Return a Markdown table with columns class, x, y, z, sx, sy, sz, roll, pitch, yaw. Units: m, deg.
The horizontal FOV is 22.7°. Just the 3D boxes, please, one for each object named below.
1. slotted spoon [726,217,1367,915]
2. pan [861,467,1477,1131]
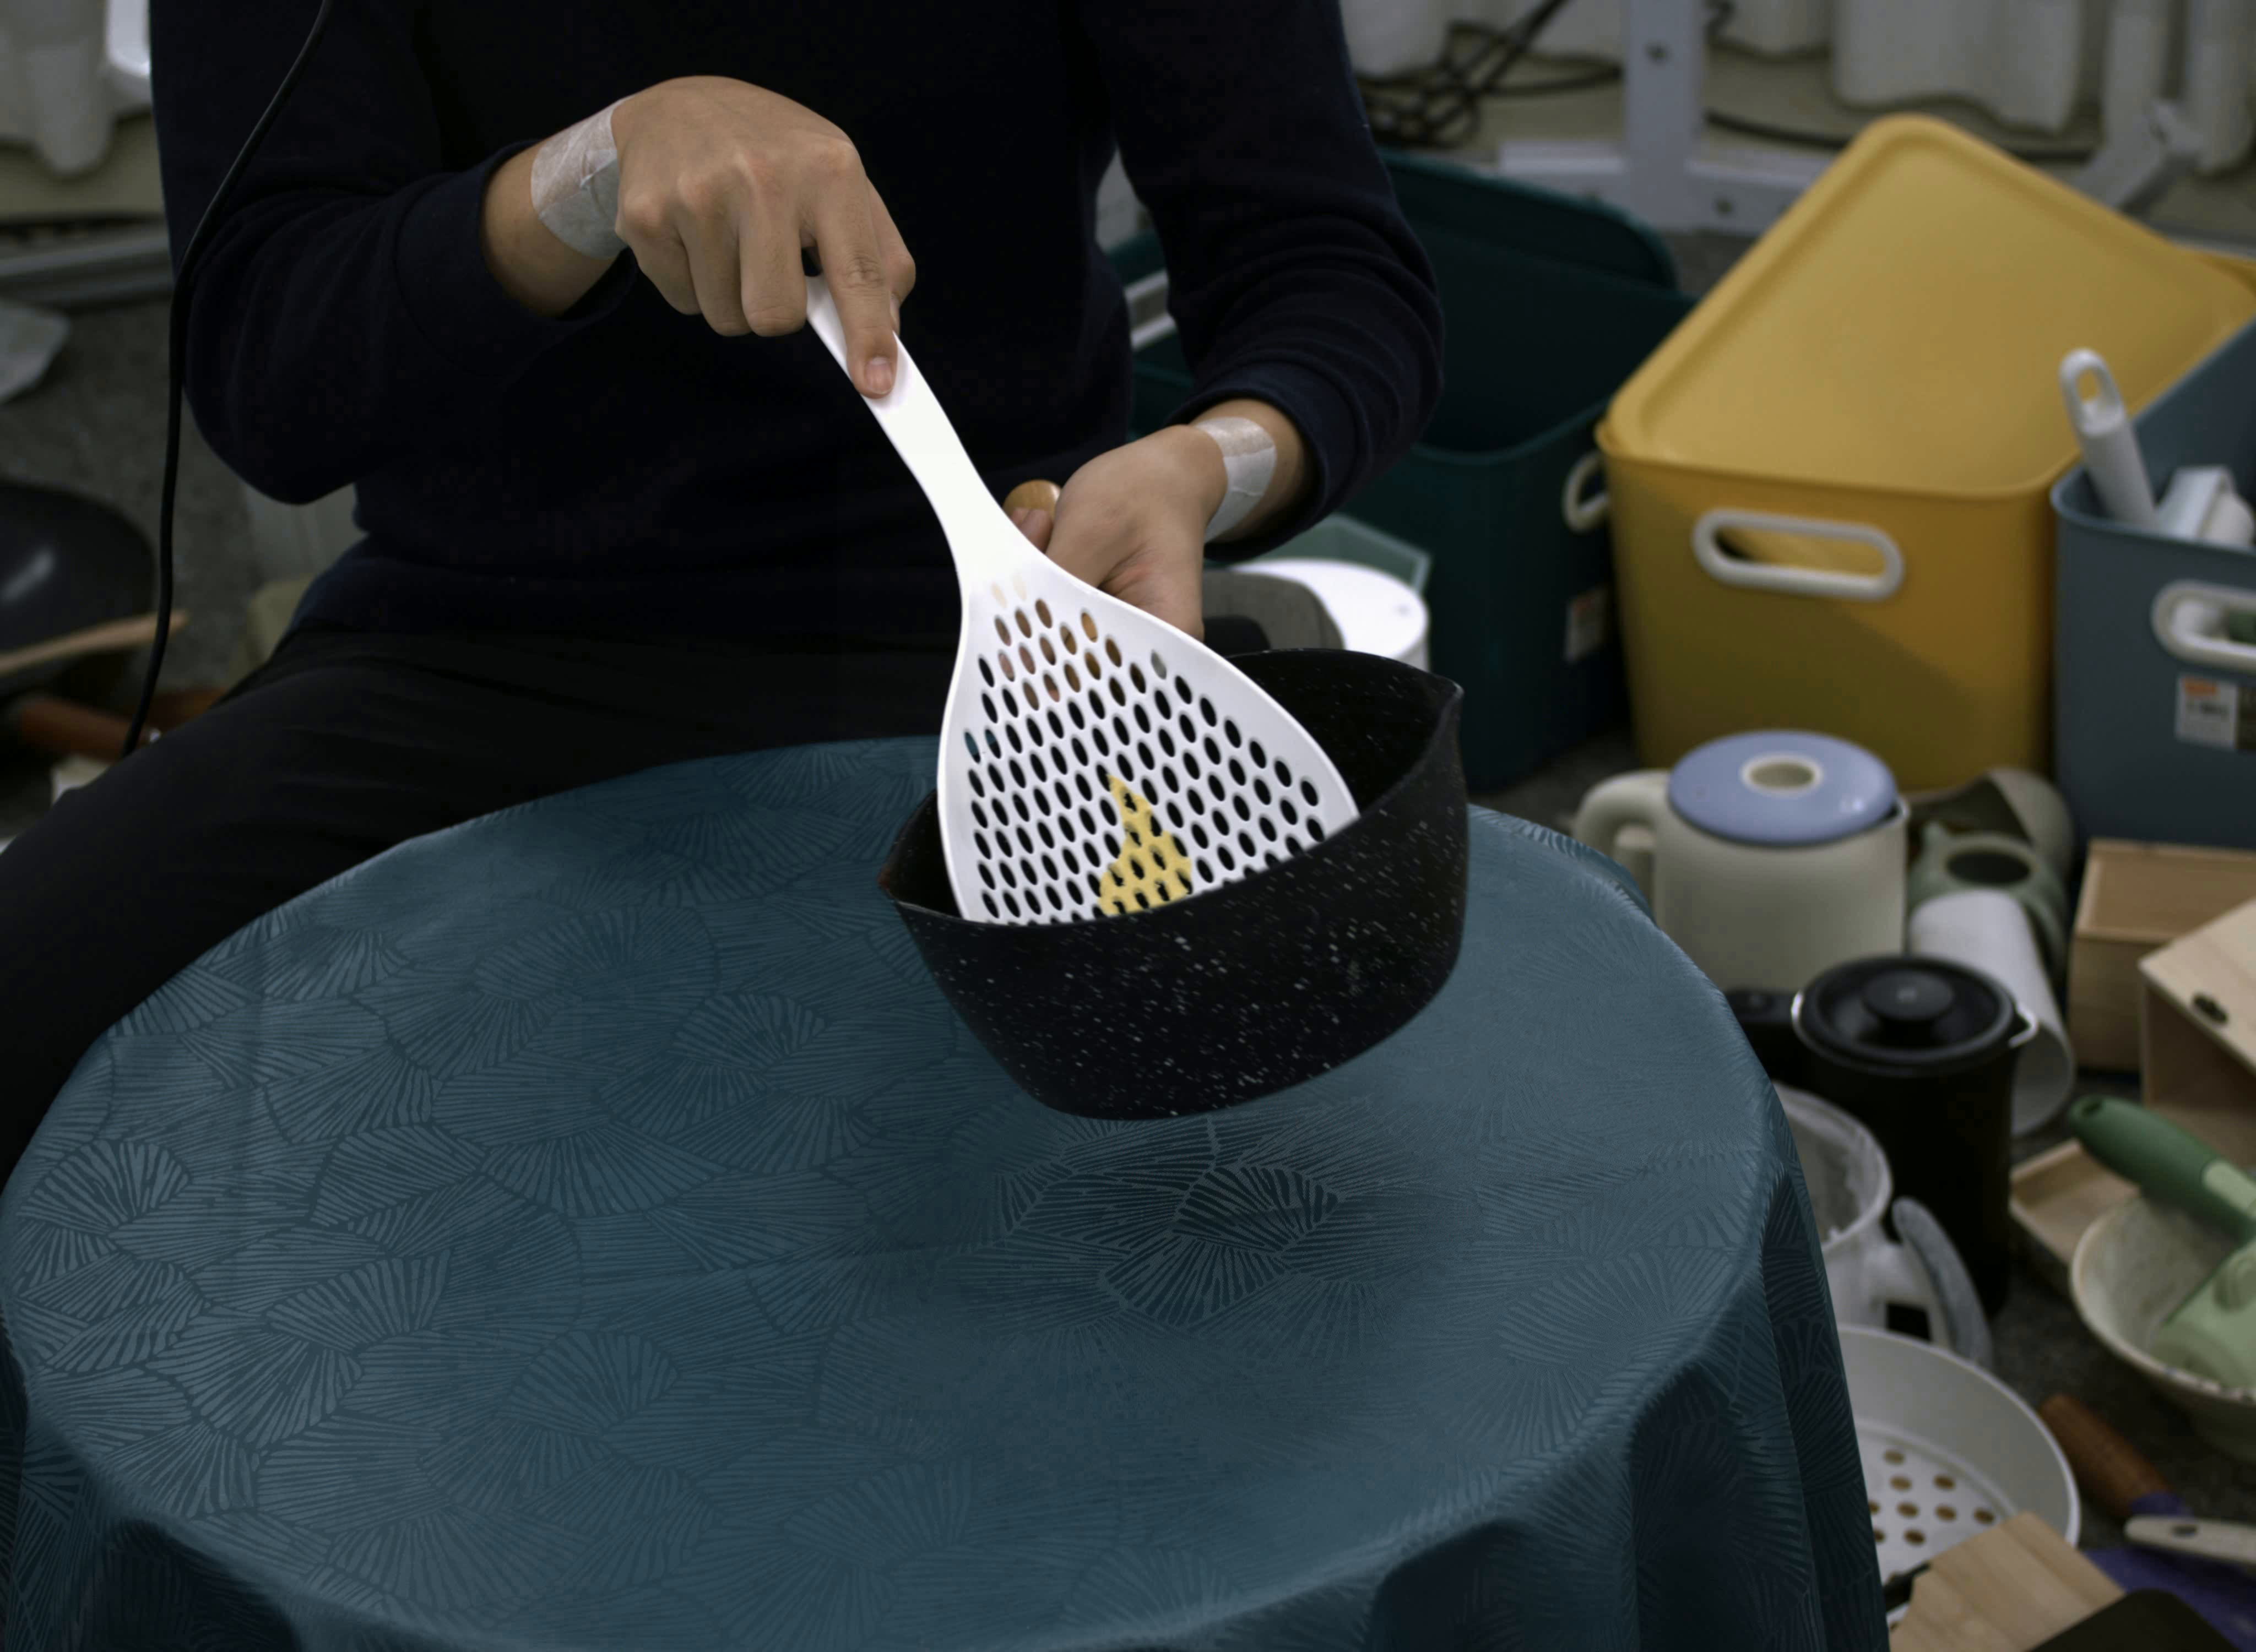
| class | x | y | z | sx | sy | sz | roll | pitch | yaw |
| --- | --- | --- | --- | --- | --- | --- | --- | --- | --- |
| slotted spoon | -0.042 | -0.076 | 1.880 | 0.137 | 0.049 | 0.351 | -26 | 72 | -13 |
| pan | 0.007 | -0.016 | 1.881 | 0.207 | 0.107 | 0.346 | -20 | 25 | -4 |
